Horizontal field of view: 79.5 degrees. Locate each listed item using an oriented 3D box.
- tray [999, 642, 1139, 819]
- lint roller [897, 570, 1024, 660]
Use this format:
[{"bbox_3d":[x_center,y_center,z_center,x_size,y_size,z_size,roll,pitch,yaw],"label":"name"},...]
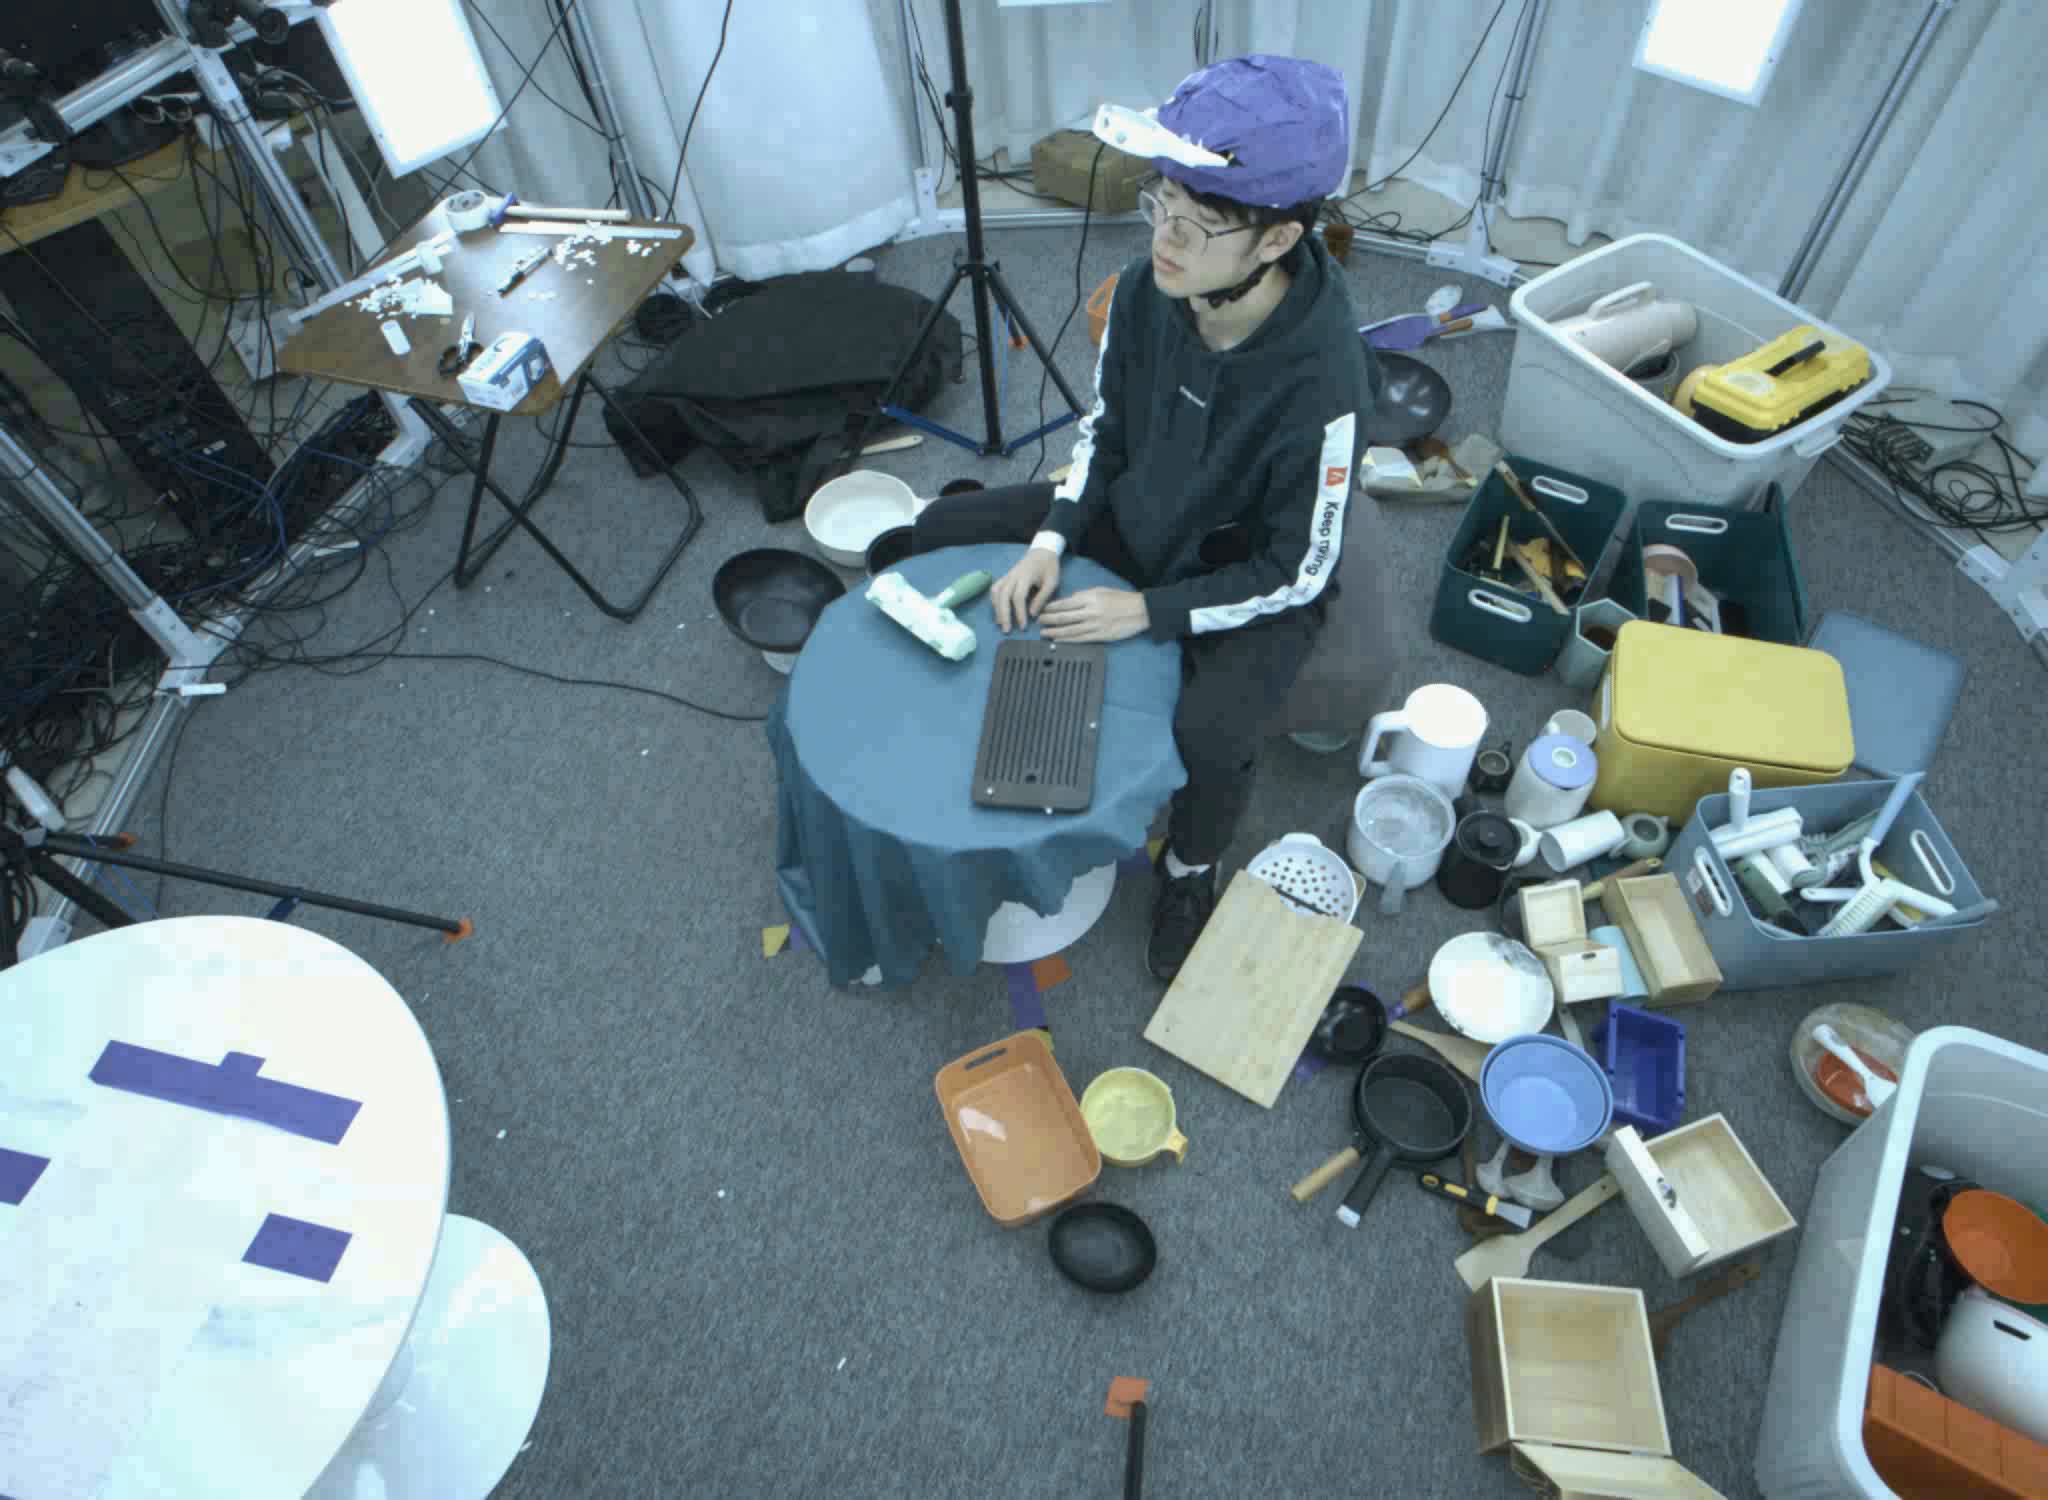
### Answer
[{"bbox_3d":[0.070,-0.033,1.793,0.169,0.019,0.304,6,55,7],"label":"tray"},{"bbox_3d":[-0.072,-0.245,1.910,0.184,0.083,0.195,-41,62,-20],"label":"lint roller"}]
